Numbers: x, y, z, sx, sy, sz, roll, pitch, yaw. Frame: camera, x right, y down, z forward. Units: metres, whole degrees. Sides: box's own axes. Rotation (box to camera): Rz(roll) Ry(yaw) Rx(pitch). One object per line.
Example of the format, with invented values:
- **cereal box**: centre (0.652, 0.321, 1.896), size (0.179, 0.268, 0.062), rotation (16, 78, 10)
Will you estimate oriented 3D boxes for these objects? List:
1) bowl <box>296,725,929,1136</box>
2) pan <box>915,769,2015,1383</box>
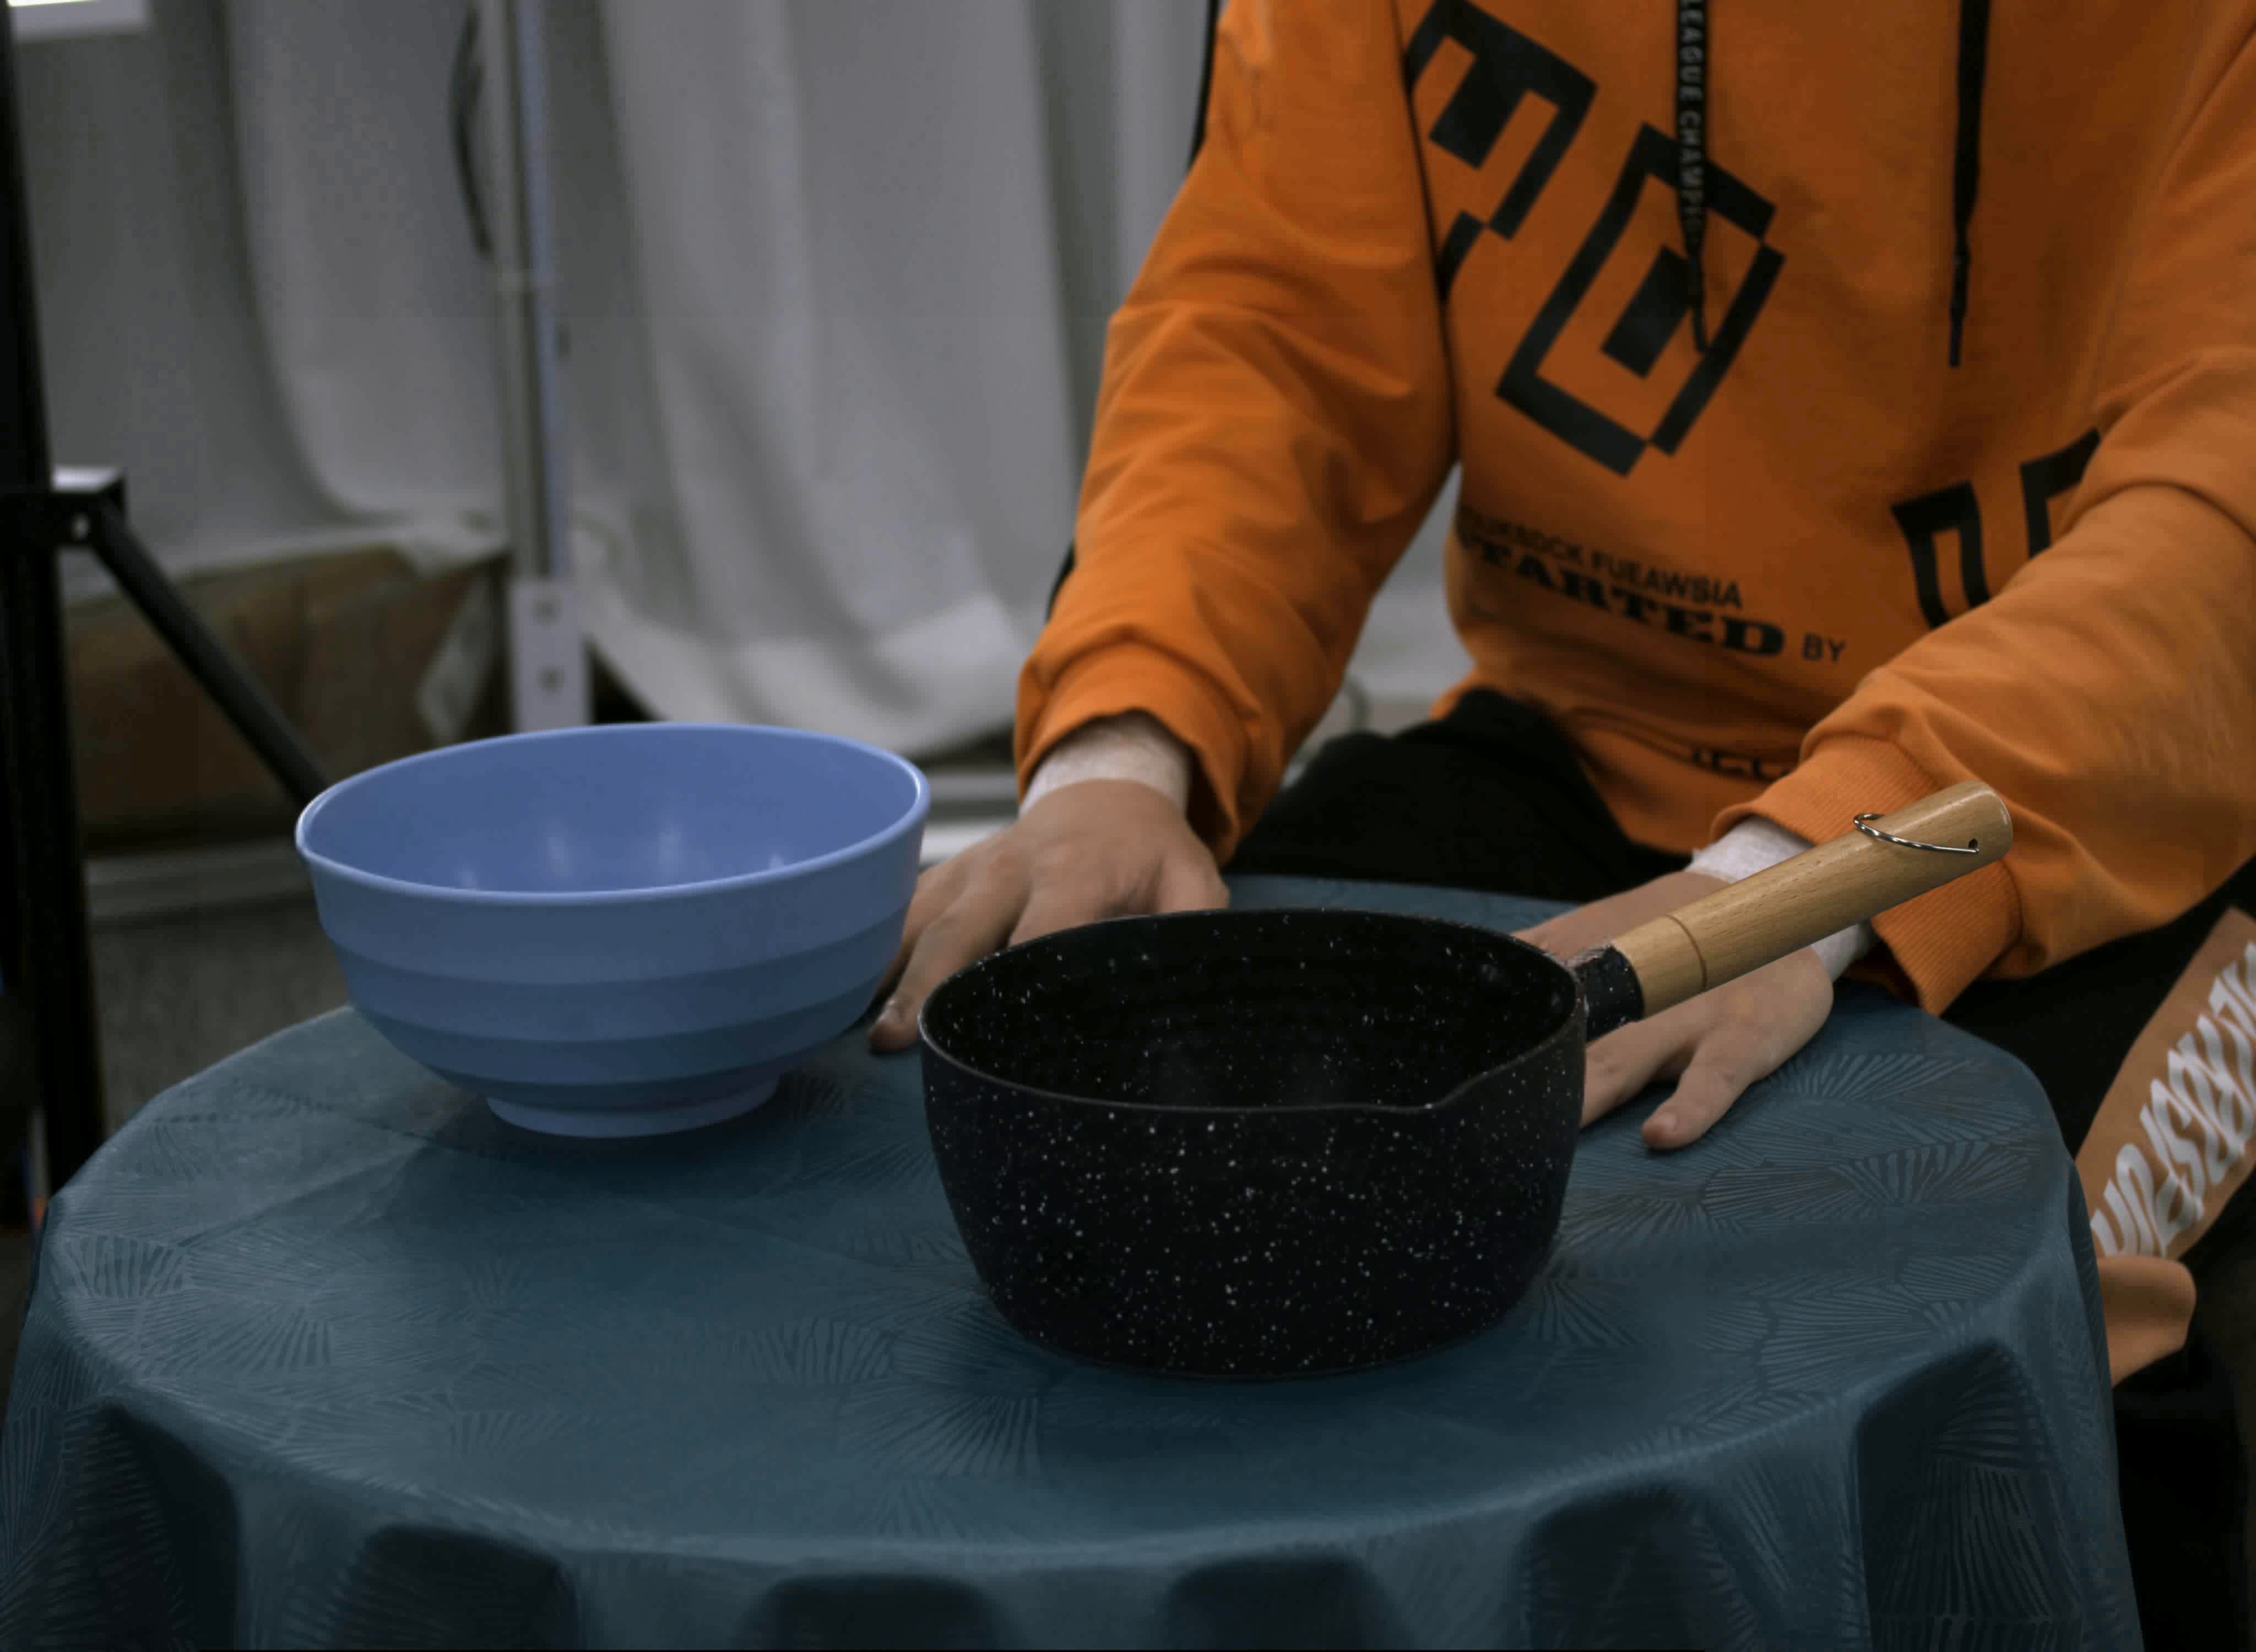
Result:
- **bowl**: centre (-0.157, 0.037, 1.660), size (0.195, 0.095, 0.197), rotation (-4, 15, 0)
- **pan**: centre (0.105, 0.065, 1.495), size (0.336, 0.108, 0.212), rotation (-12, 17, -24)
